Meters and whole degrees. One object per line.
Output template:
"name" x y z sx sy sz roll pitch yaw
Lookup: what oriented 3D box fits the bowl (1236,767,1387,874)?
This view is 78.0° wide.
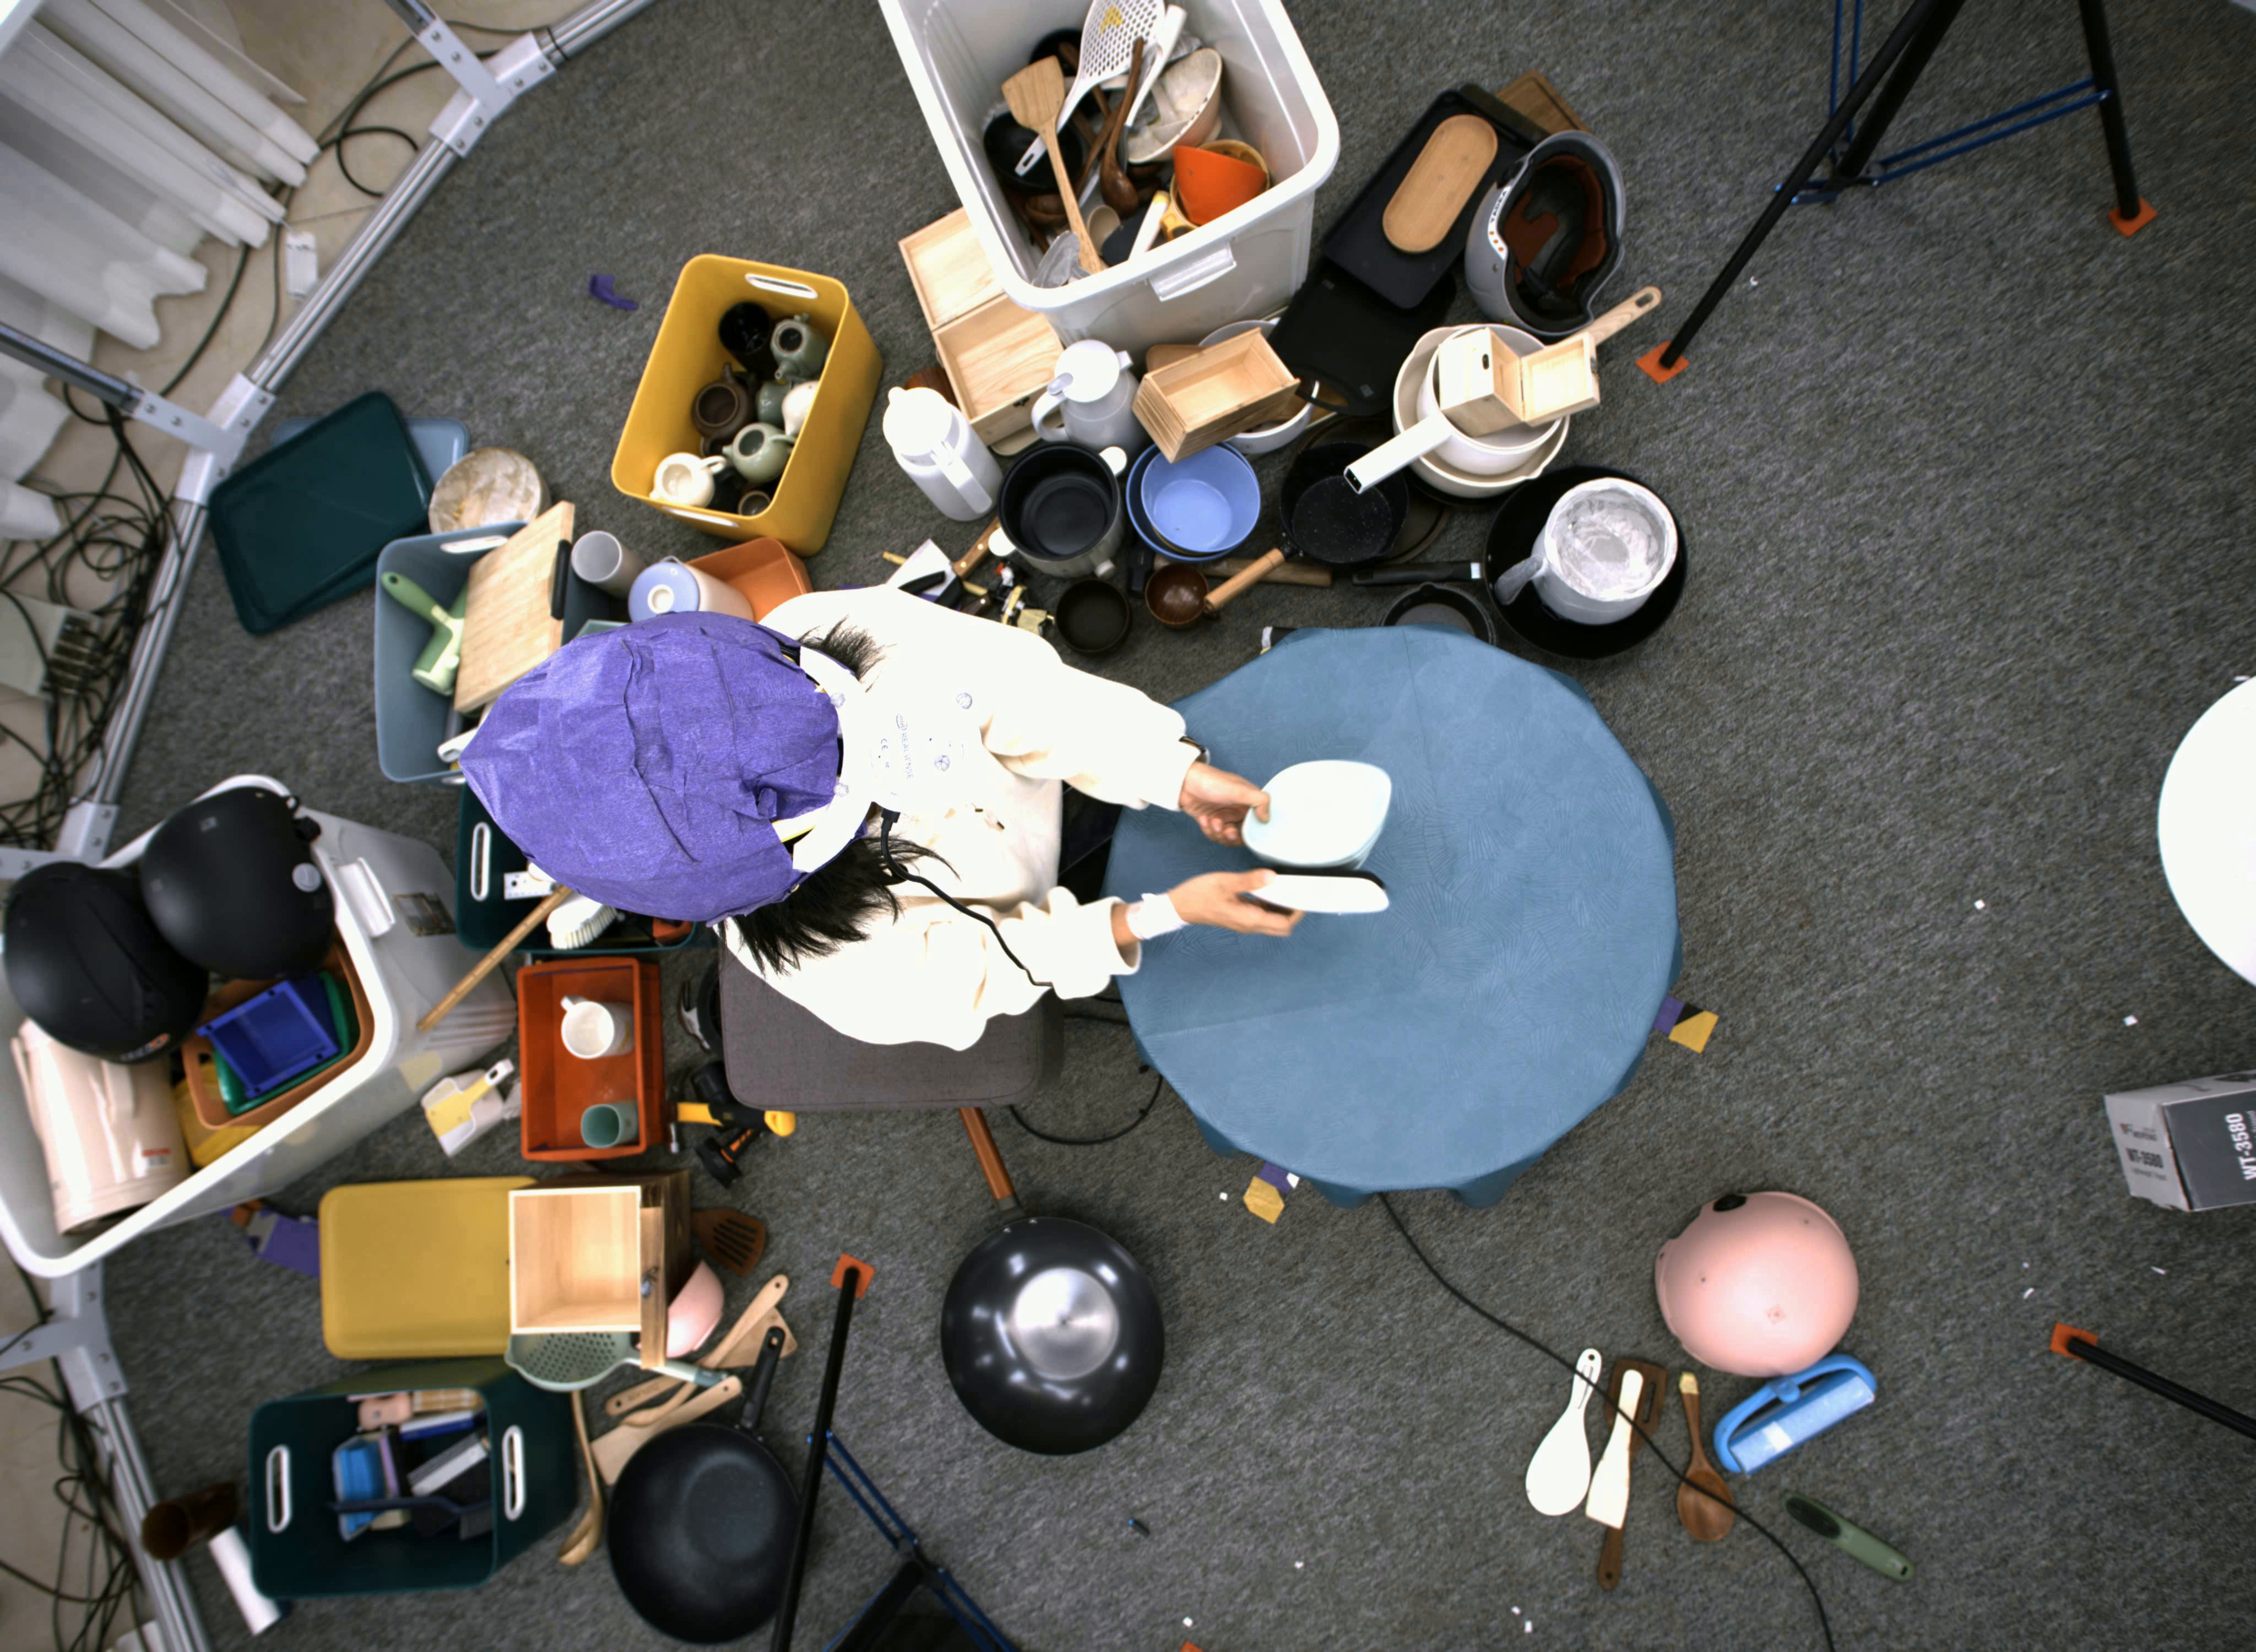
"bowl" 0.183 0.005 1.348 0.152 0.147 0.060 -13 126 9

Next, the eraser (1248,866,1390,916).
"eraser" 0.181 0.062 1.313 0.132 0.064 0.034 1 73 29
